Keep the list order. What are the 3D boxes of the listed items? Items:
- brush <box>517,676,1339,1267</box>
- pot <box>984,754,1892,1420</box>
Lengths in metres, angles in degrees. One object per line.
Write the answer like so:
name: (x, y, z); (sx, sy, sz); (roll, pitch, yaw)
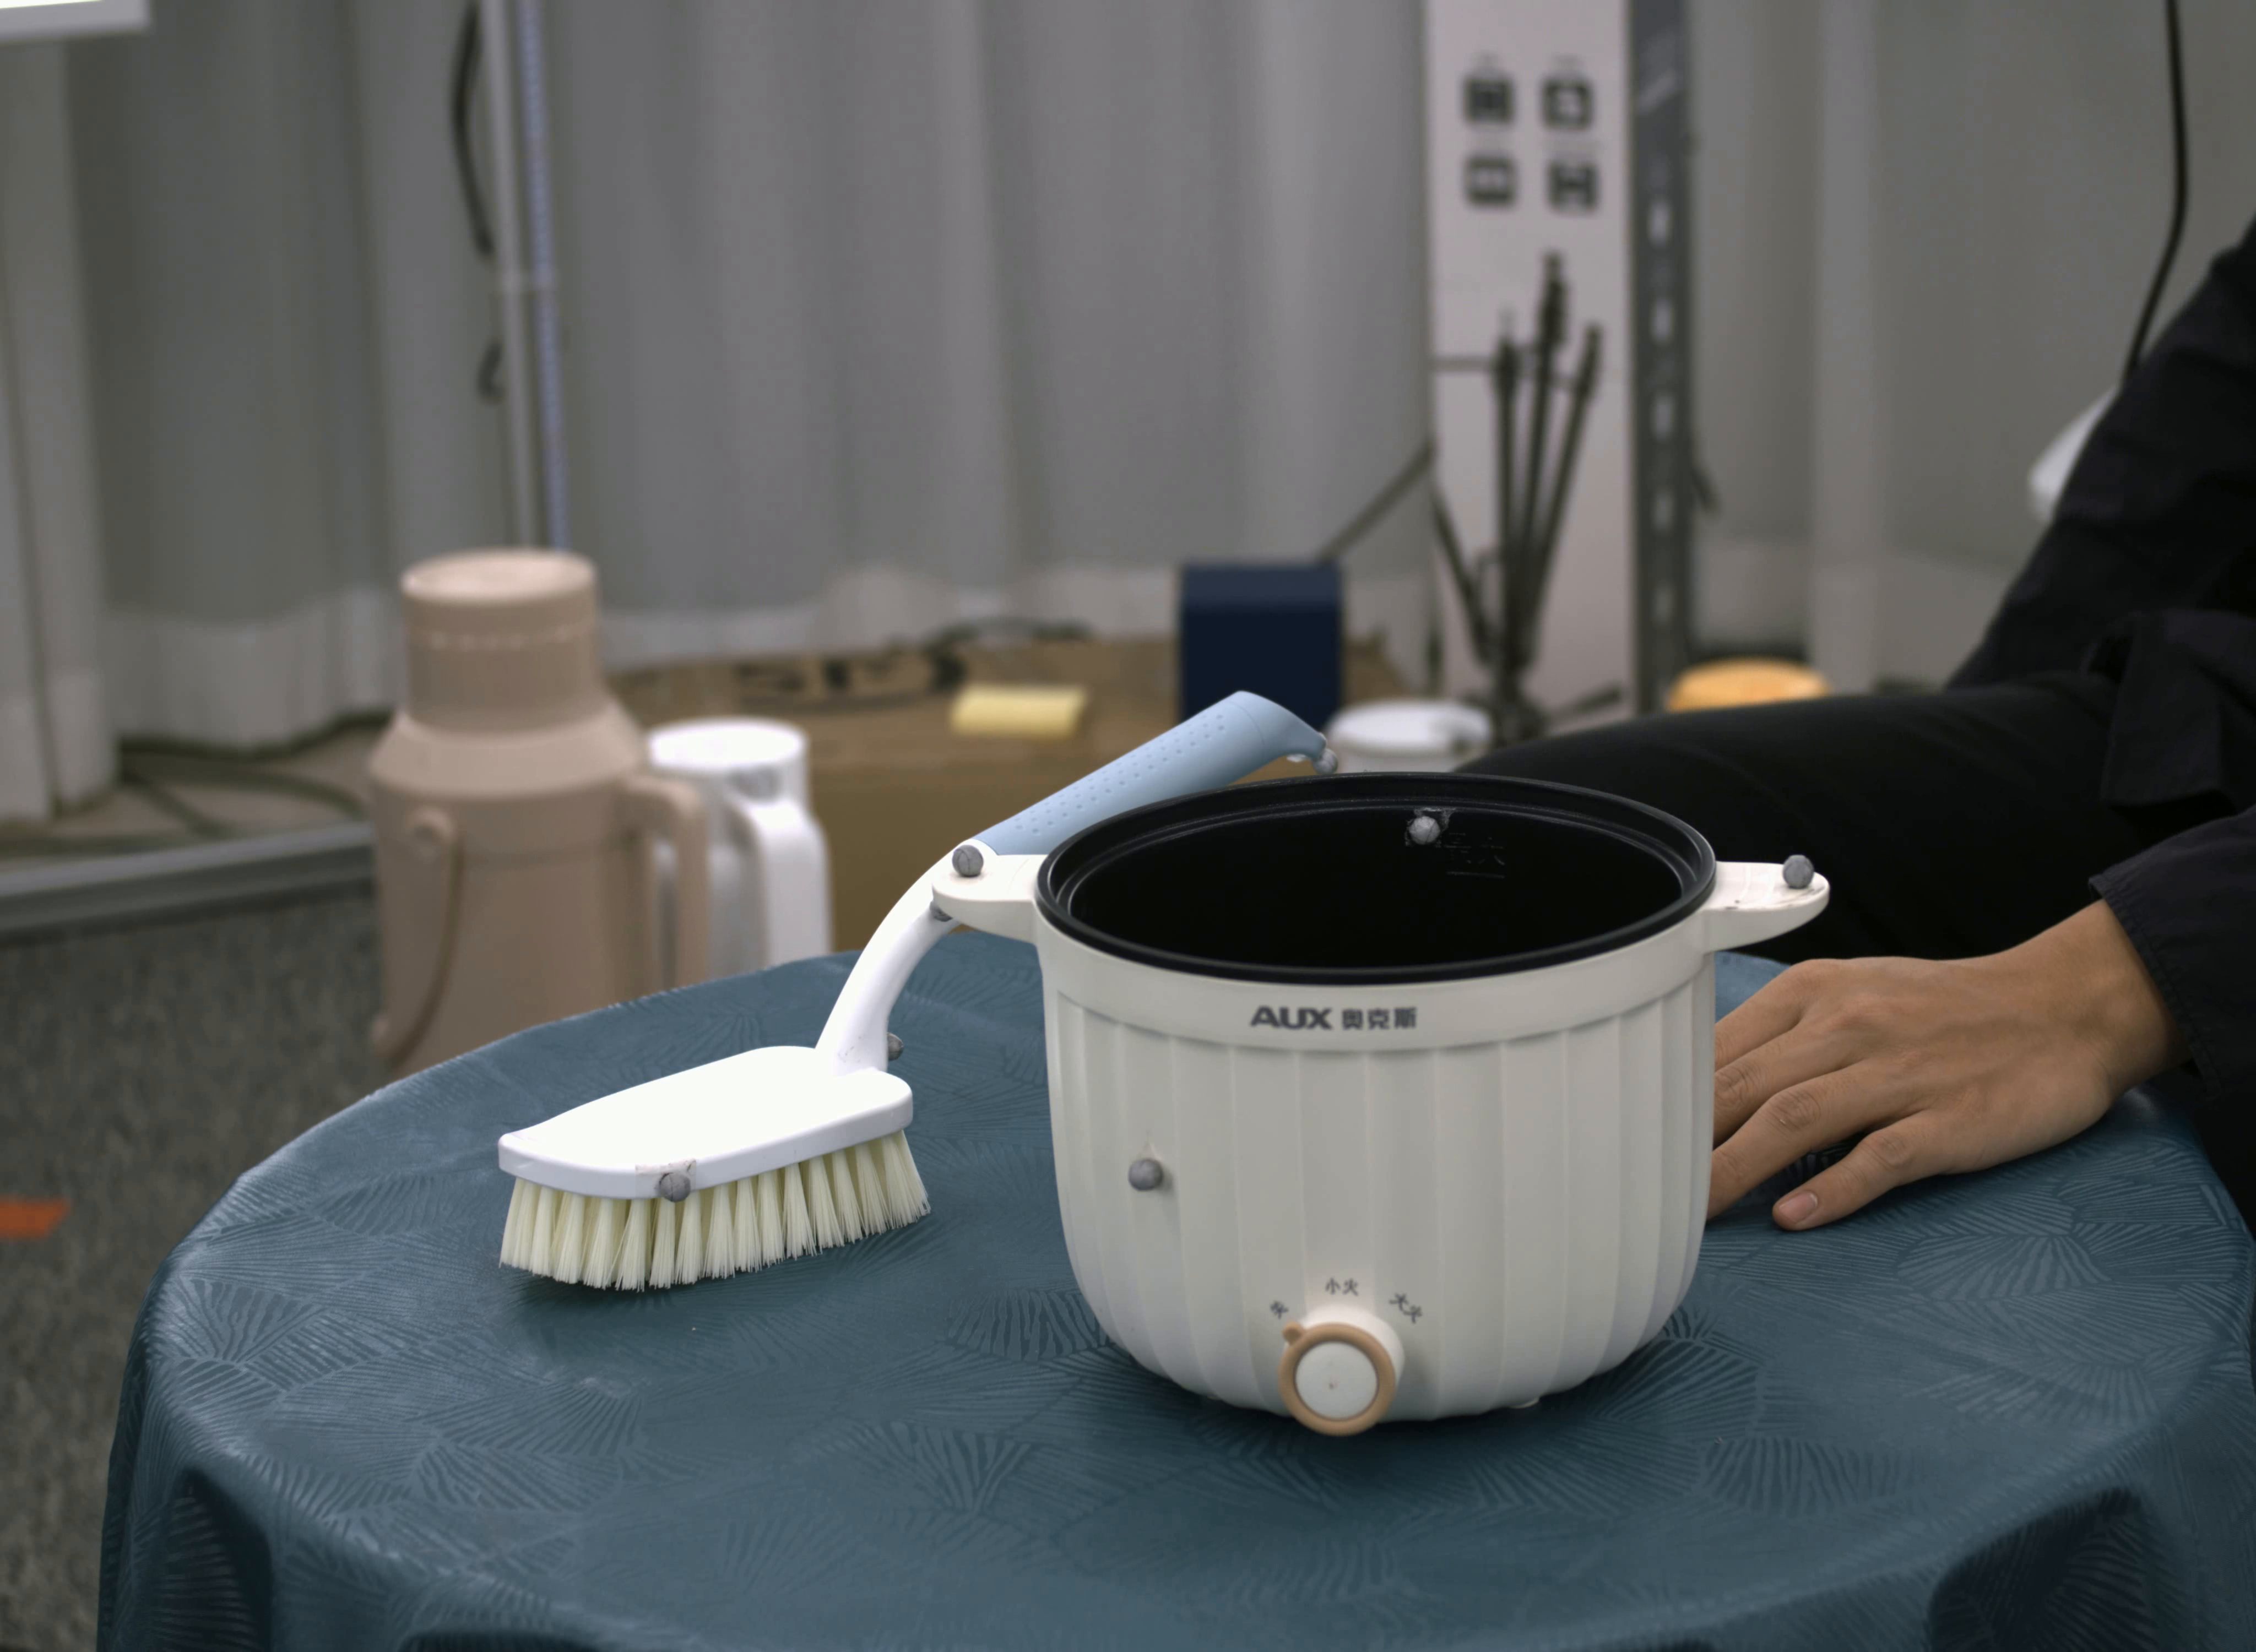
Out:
brush: (-0.046, 0.058, 1.592); (0.320, 0.085, 0.084); (-29, 65, -33)
pot: (0.083, 0.071, 1.408); (0.241, 0.143, 0.189); (-1, 13, 11)
